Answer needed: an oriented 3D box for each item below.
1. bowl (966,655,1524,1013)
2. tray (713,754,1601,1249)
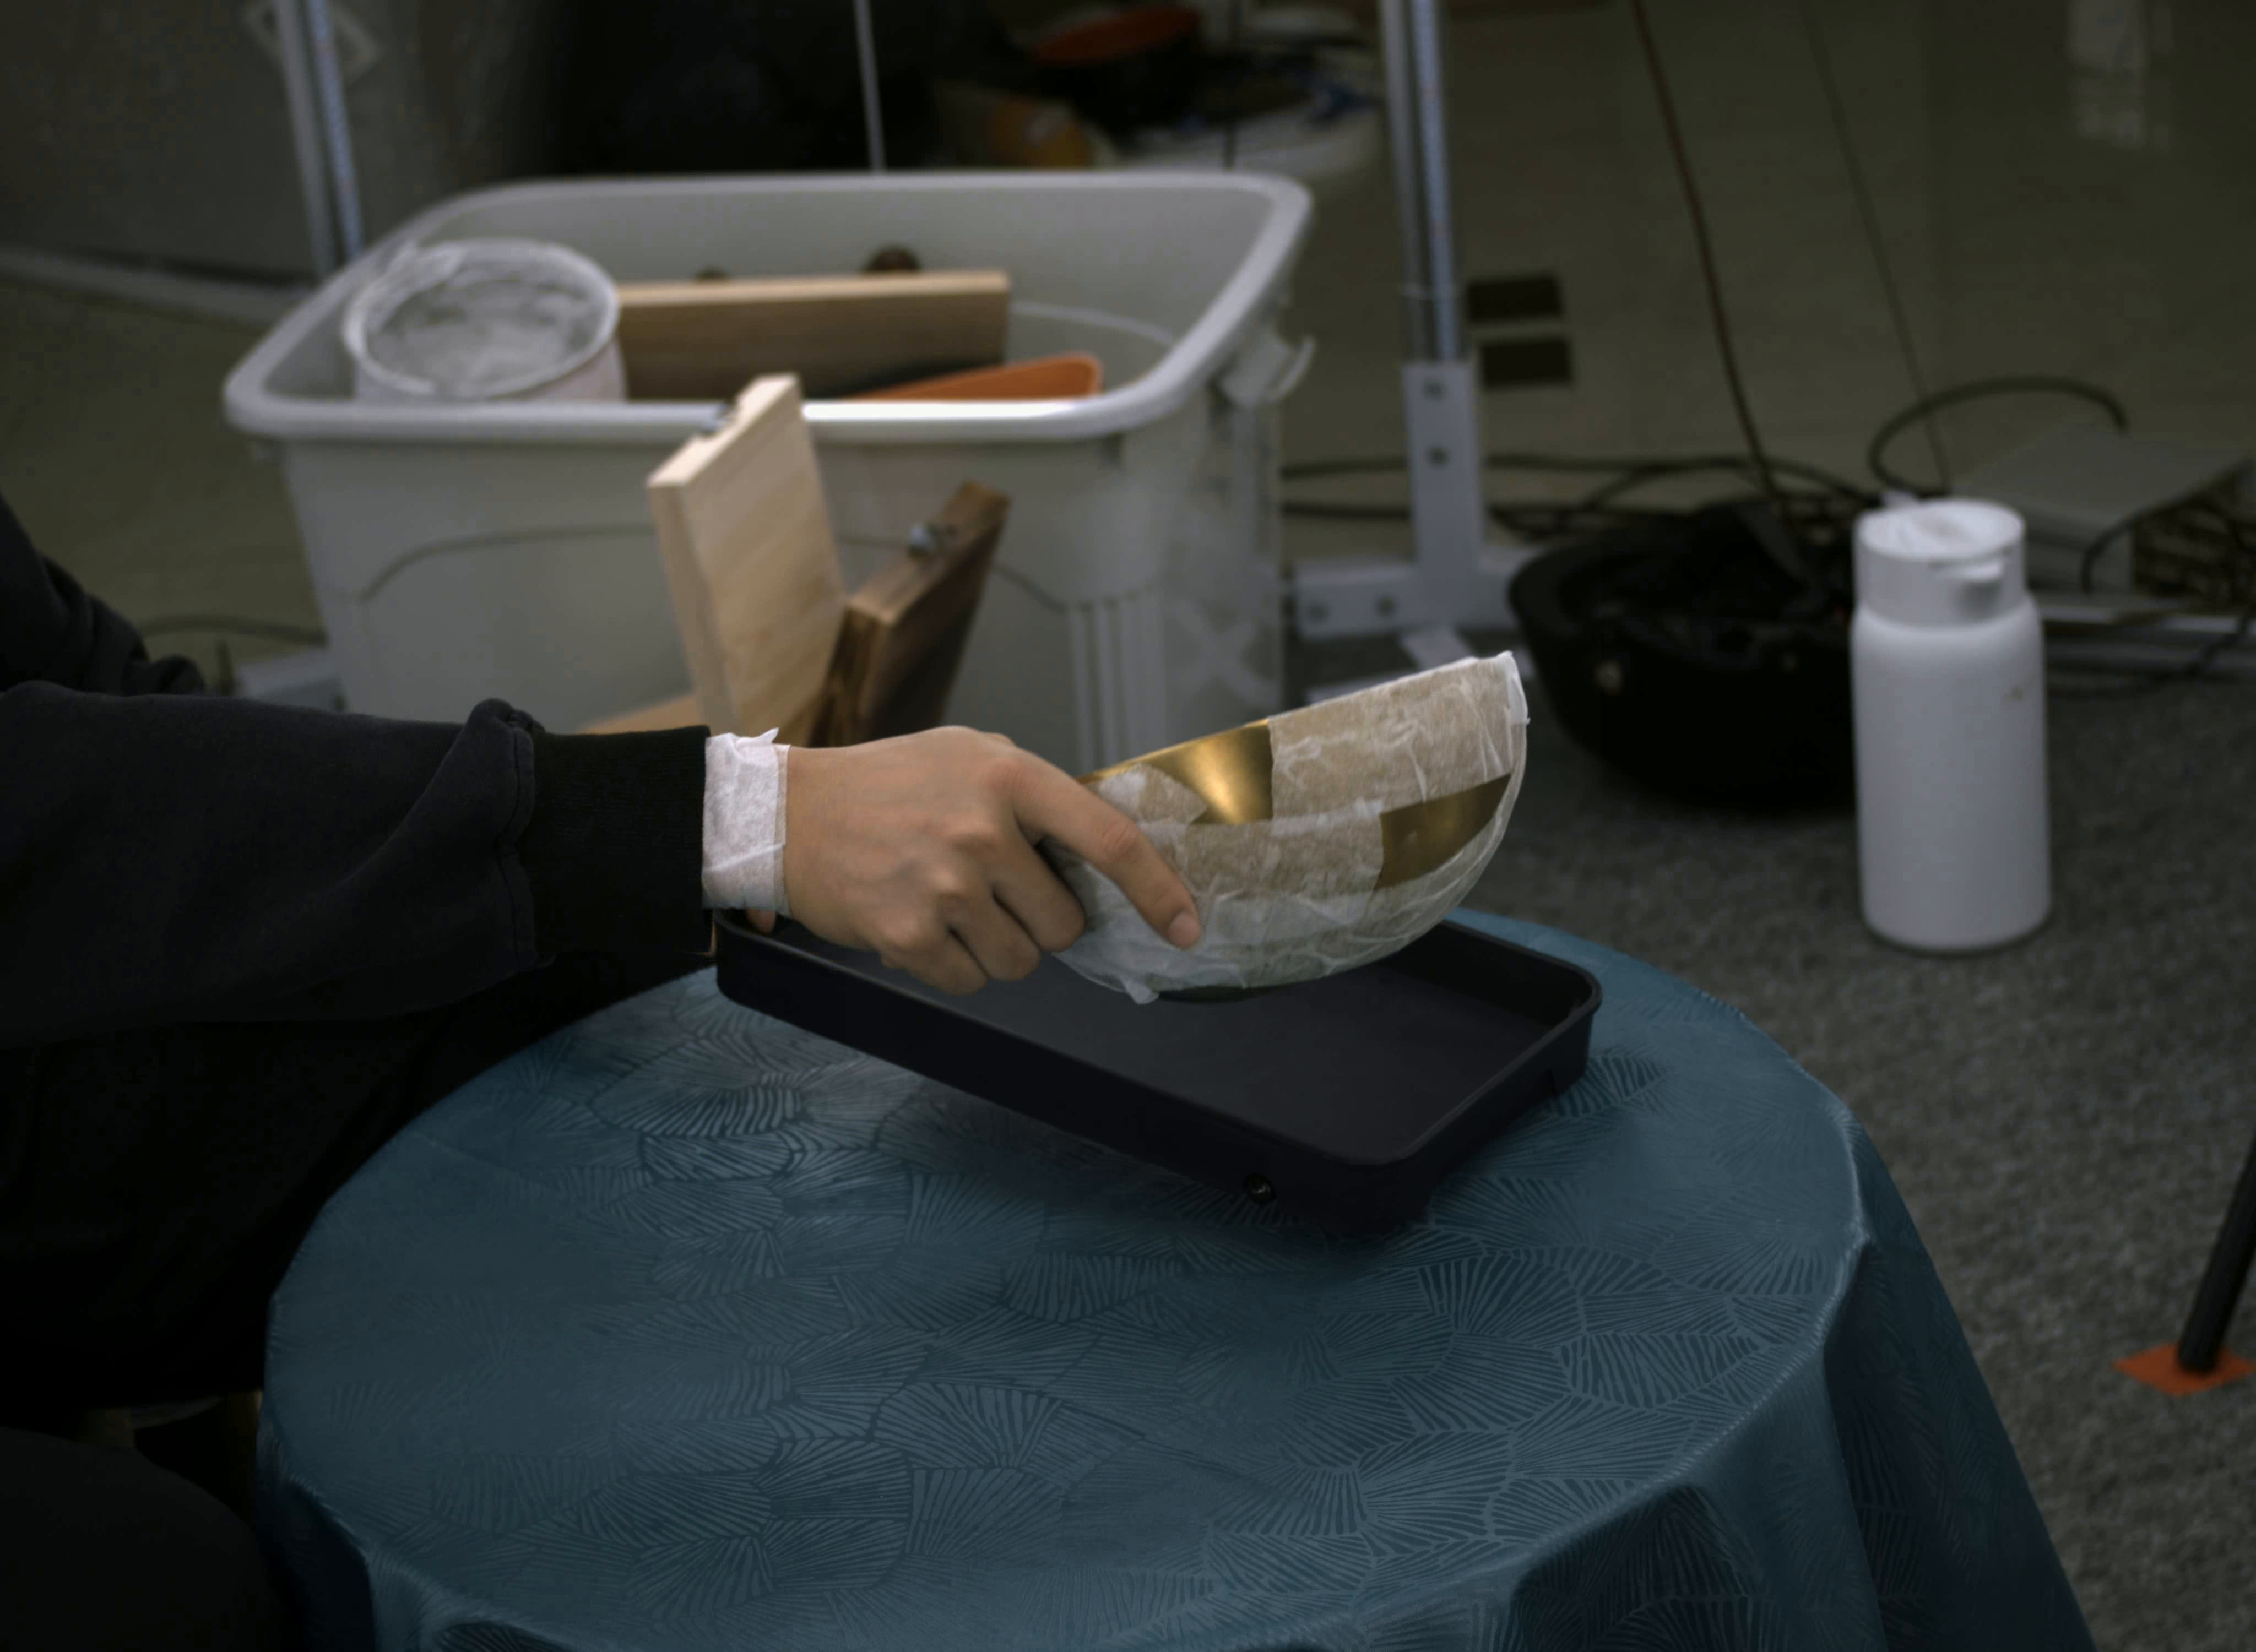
[{"bbox_3d":[0.049,0.013,2.003,0.214,0.095,0.214,-17,1,0],"label":"bowl"},{"bbox_3d":[0.009,0.064,2.209,0.315,0.037,0.182,22,33,28],"label":"tray"}]
